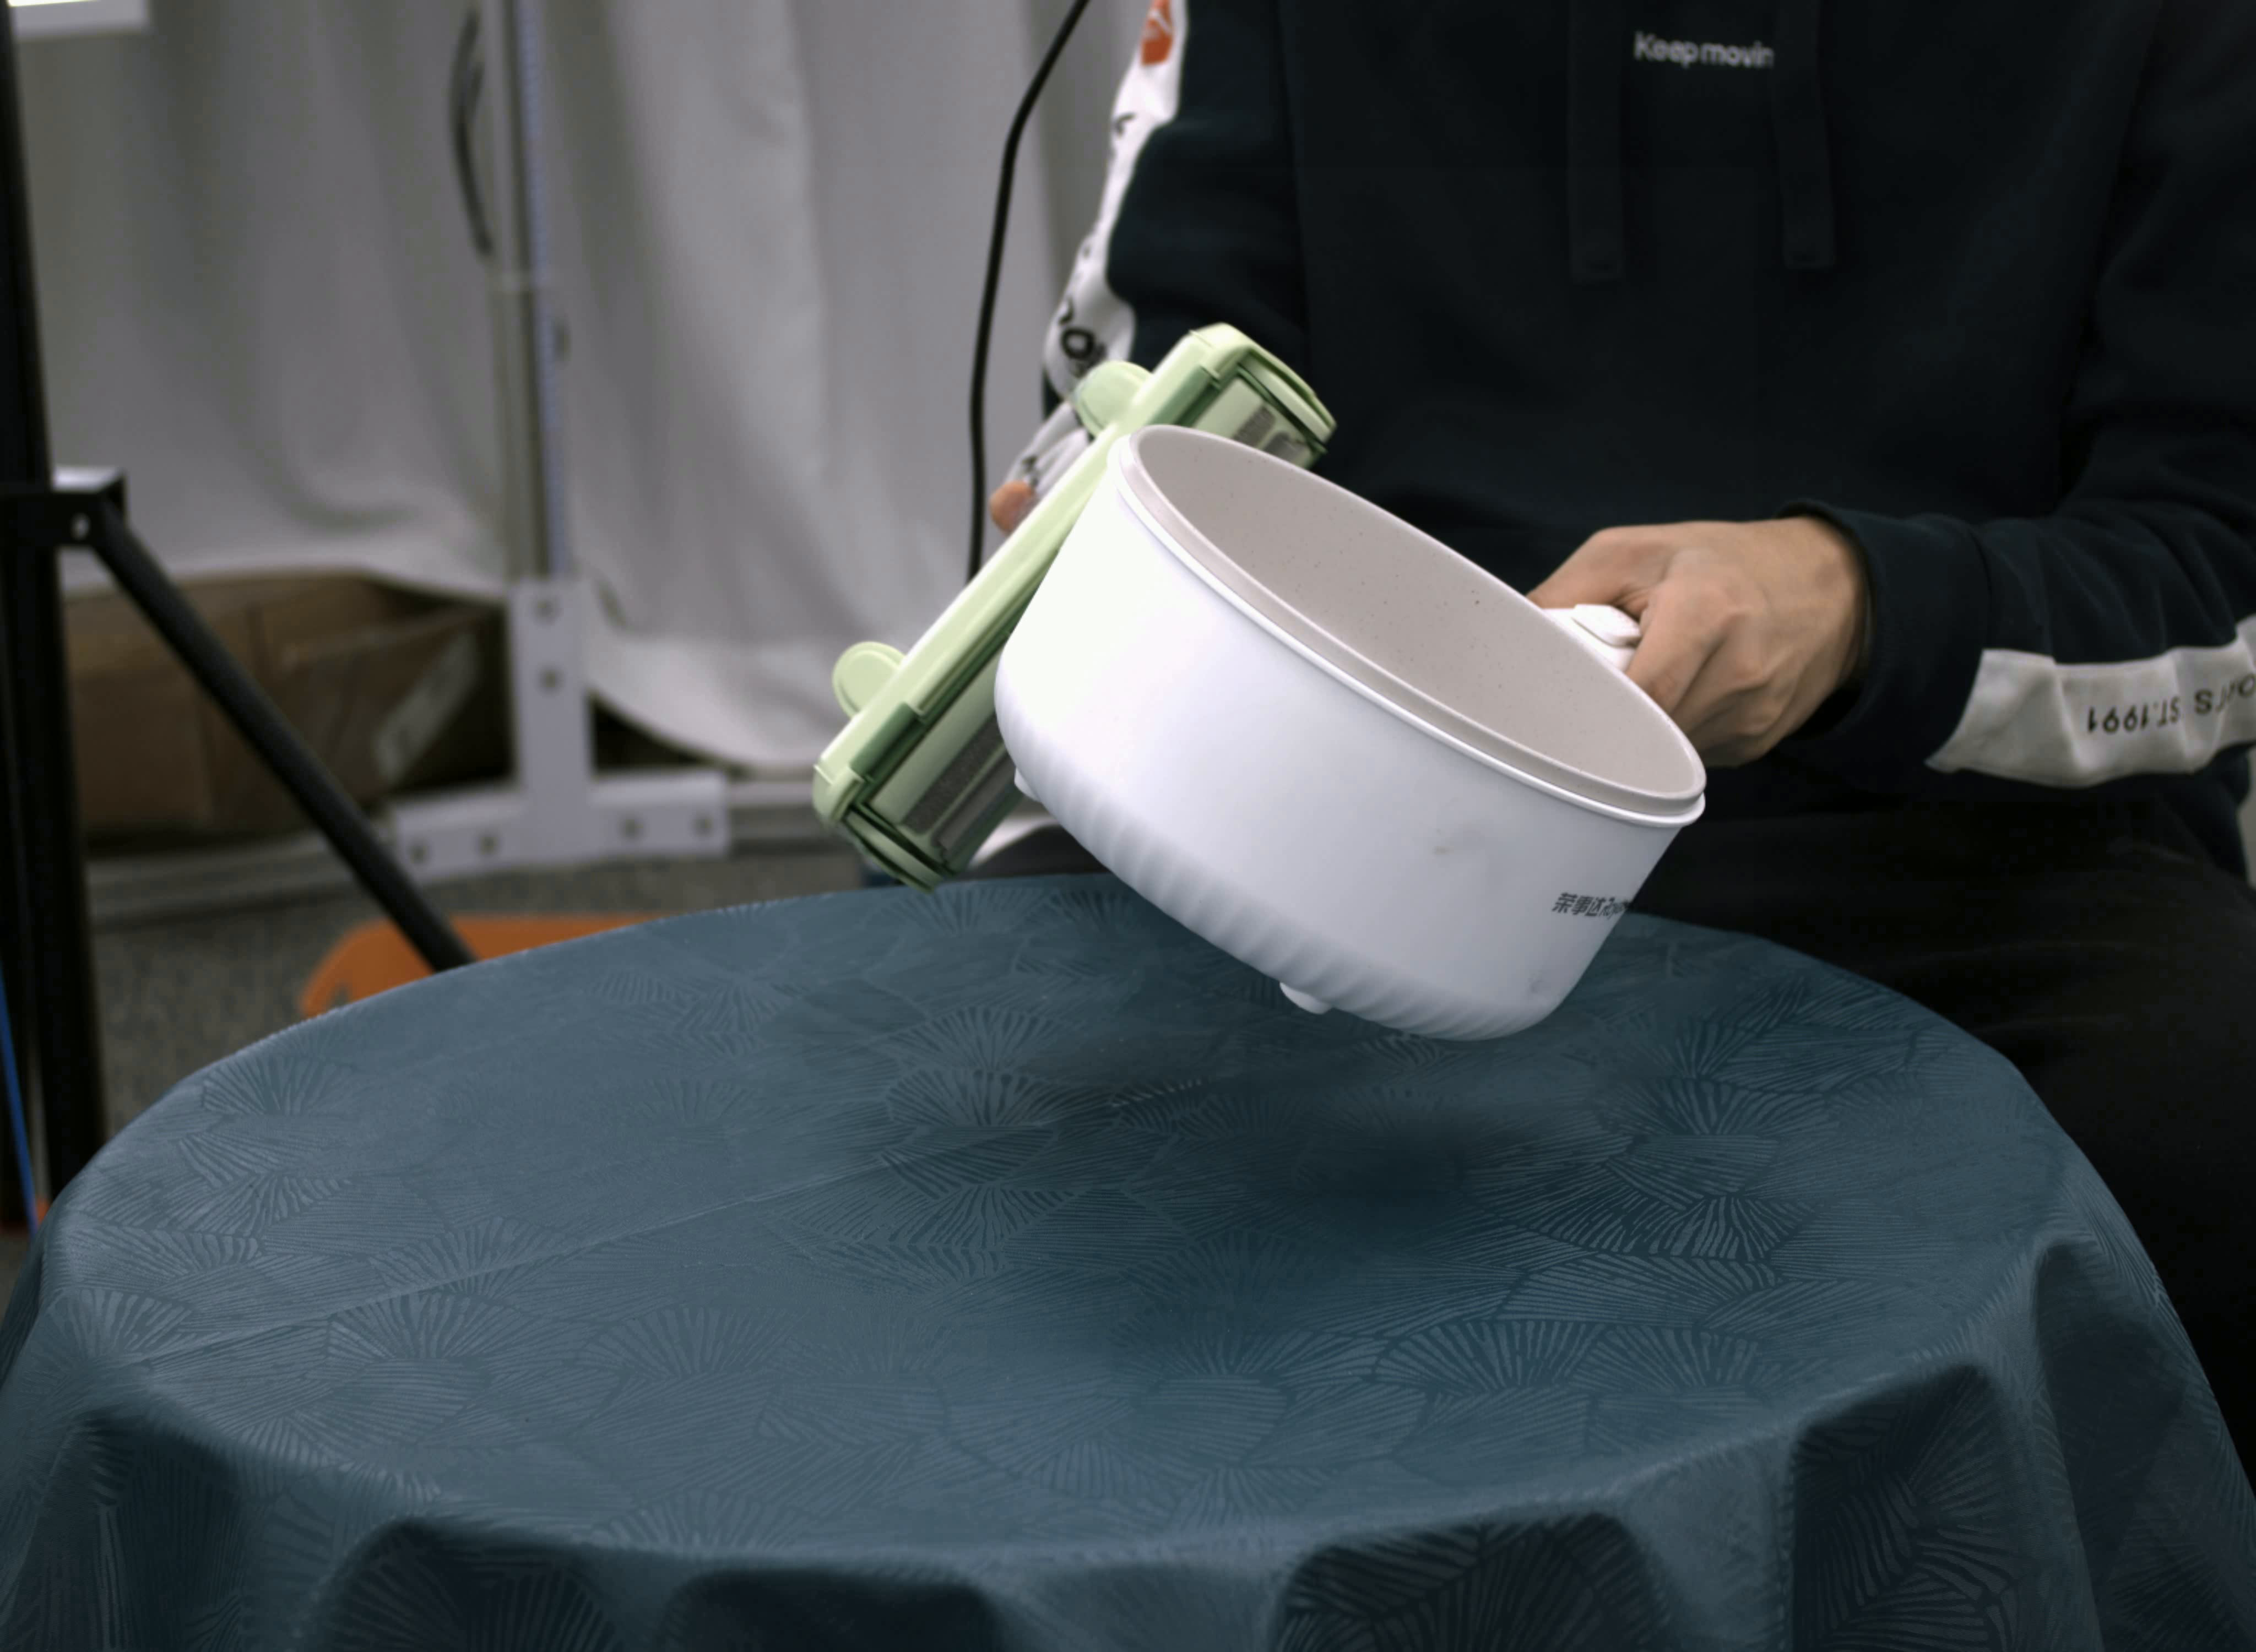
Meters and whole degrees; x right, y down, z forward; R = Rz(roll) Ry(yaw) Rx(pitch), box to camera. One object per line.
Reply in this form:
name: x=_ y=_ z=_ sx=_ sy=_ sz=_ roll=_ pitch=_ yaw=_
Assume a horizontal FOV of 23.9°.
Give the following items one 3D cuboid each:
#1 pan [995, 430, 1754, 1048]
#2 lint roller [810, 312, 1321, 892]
pan: x=0.093 y=-0.021 z=1.612 sx=0.204 sy=0.102 sz=0.347 roll=37 pitch=16 yaw=22
lint roller: x=-0.018 y=-0.068 z=1.692 sx=0.083 sy=0.199 sz=0.182 roll=40 pitch=1 yaw=9
